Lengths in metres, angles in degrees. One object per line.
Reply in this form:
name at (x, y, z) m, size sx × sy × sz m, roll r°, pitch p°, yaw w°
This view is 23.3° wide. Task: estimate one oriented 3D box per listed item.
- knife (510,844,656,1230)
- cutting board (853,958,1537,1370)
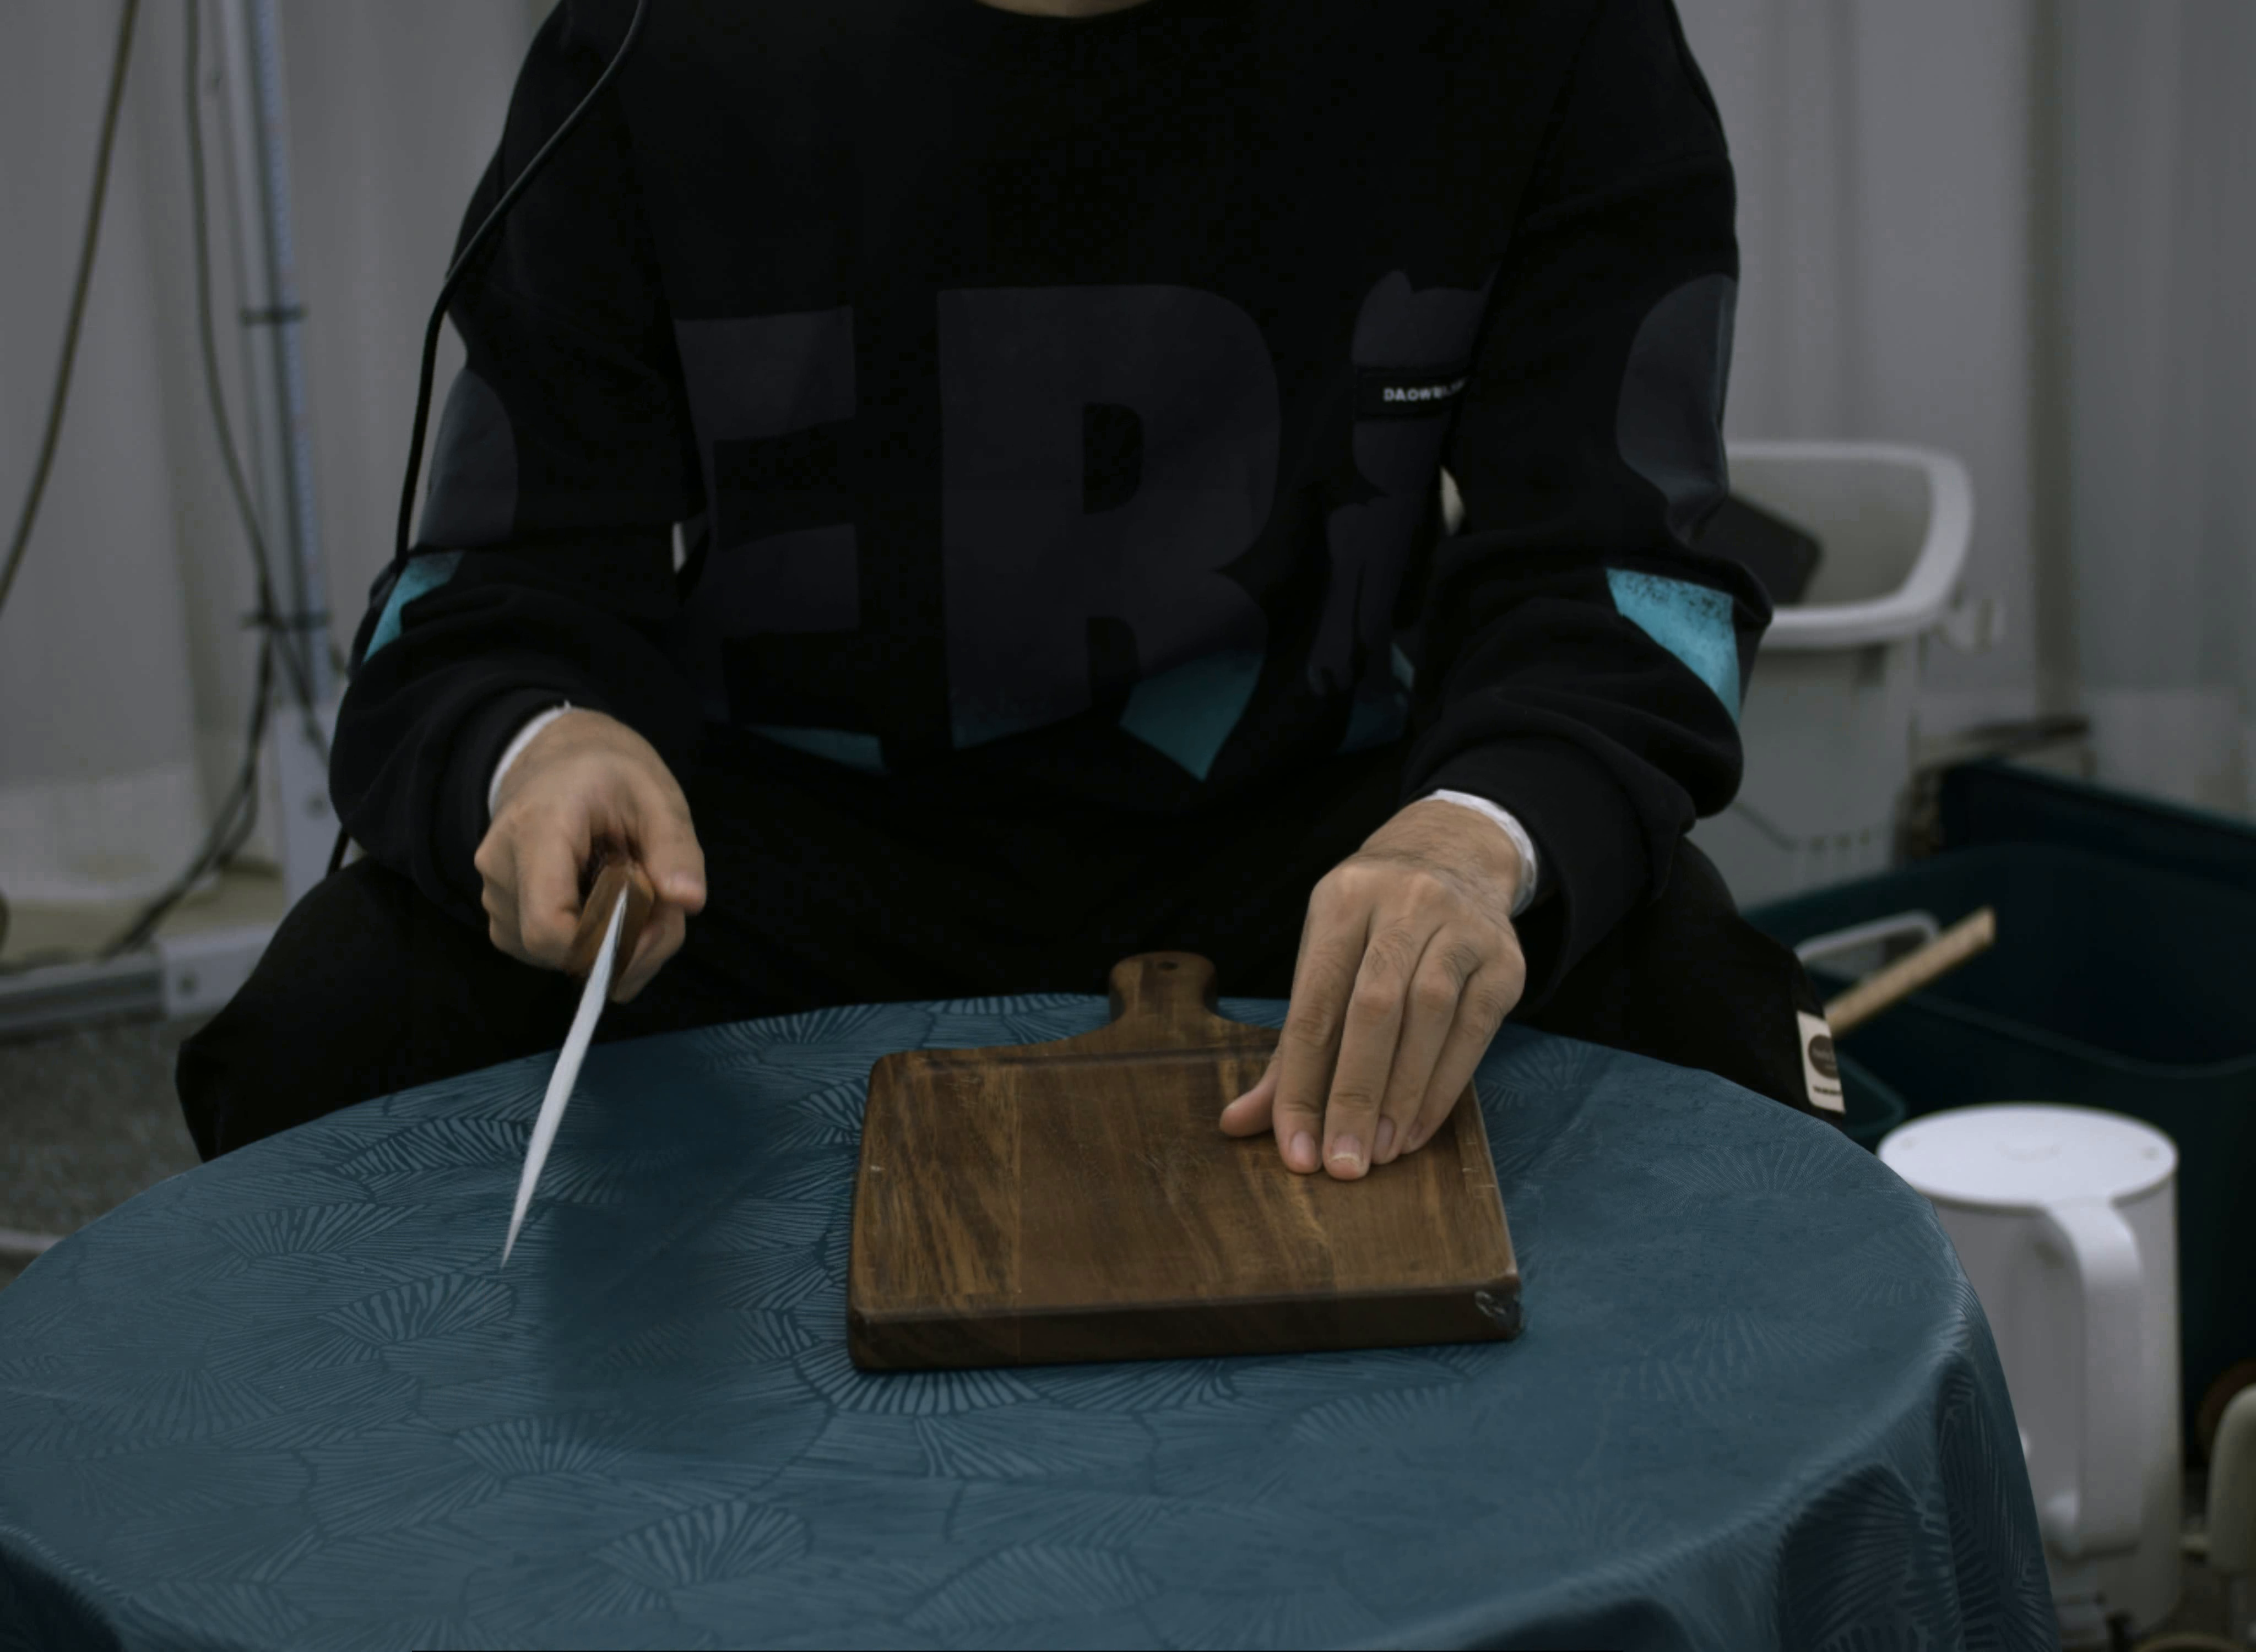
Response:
knife at (-0.171, 0.065, 1.699) m, size 0.021 × 0.093 × 0.307 m, roll 21°, pitch 7°, yaw -6°
cutting board at (0.015, 0.100, 1.731) m, size 0.200 × 0.023 × 0.354 m, roll -2°, pitch 14°, yaw 0°
